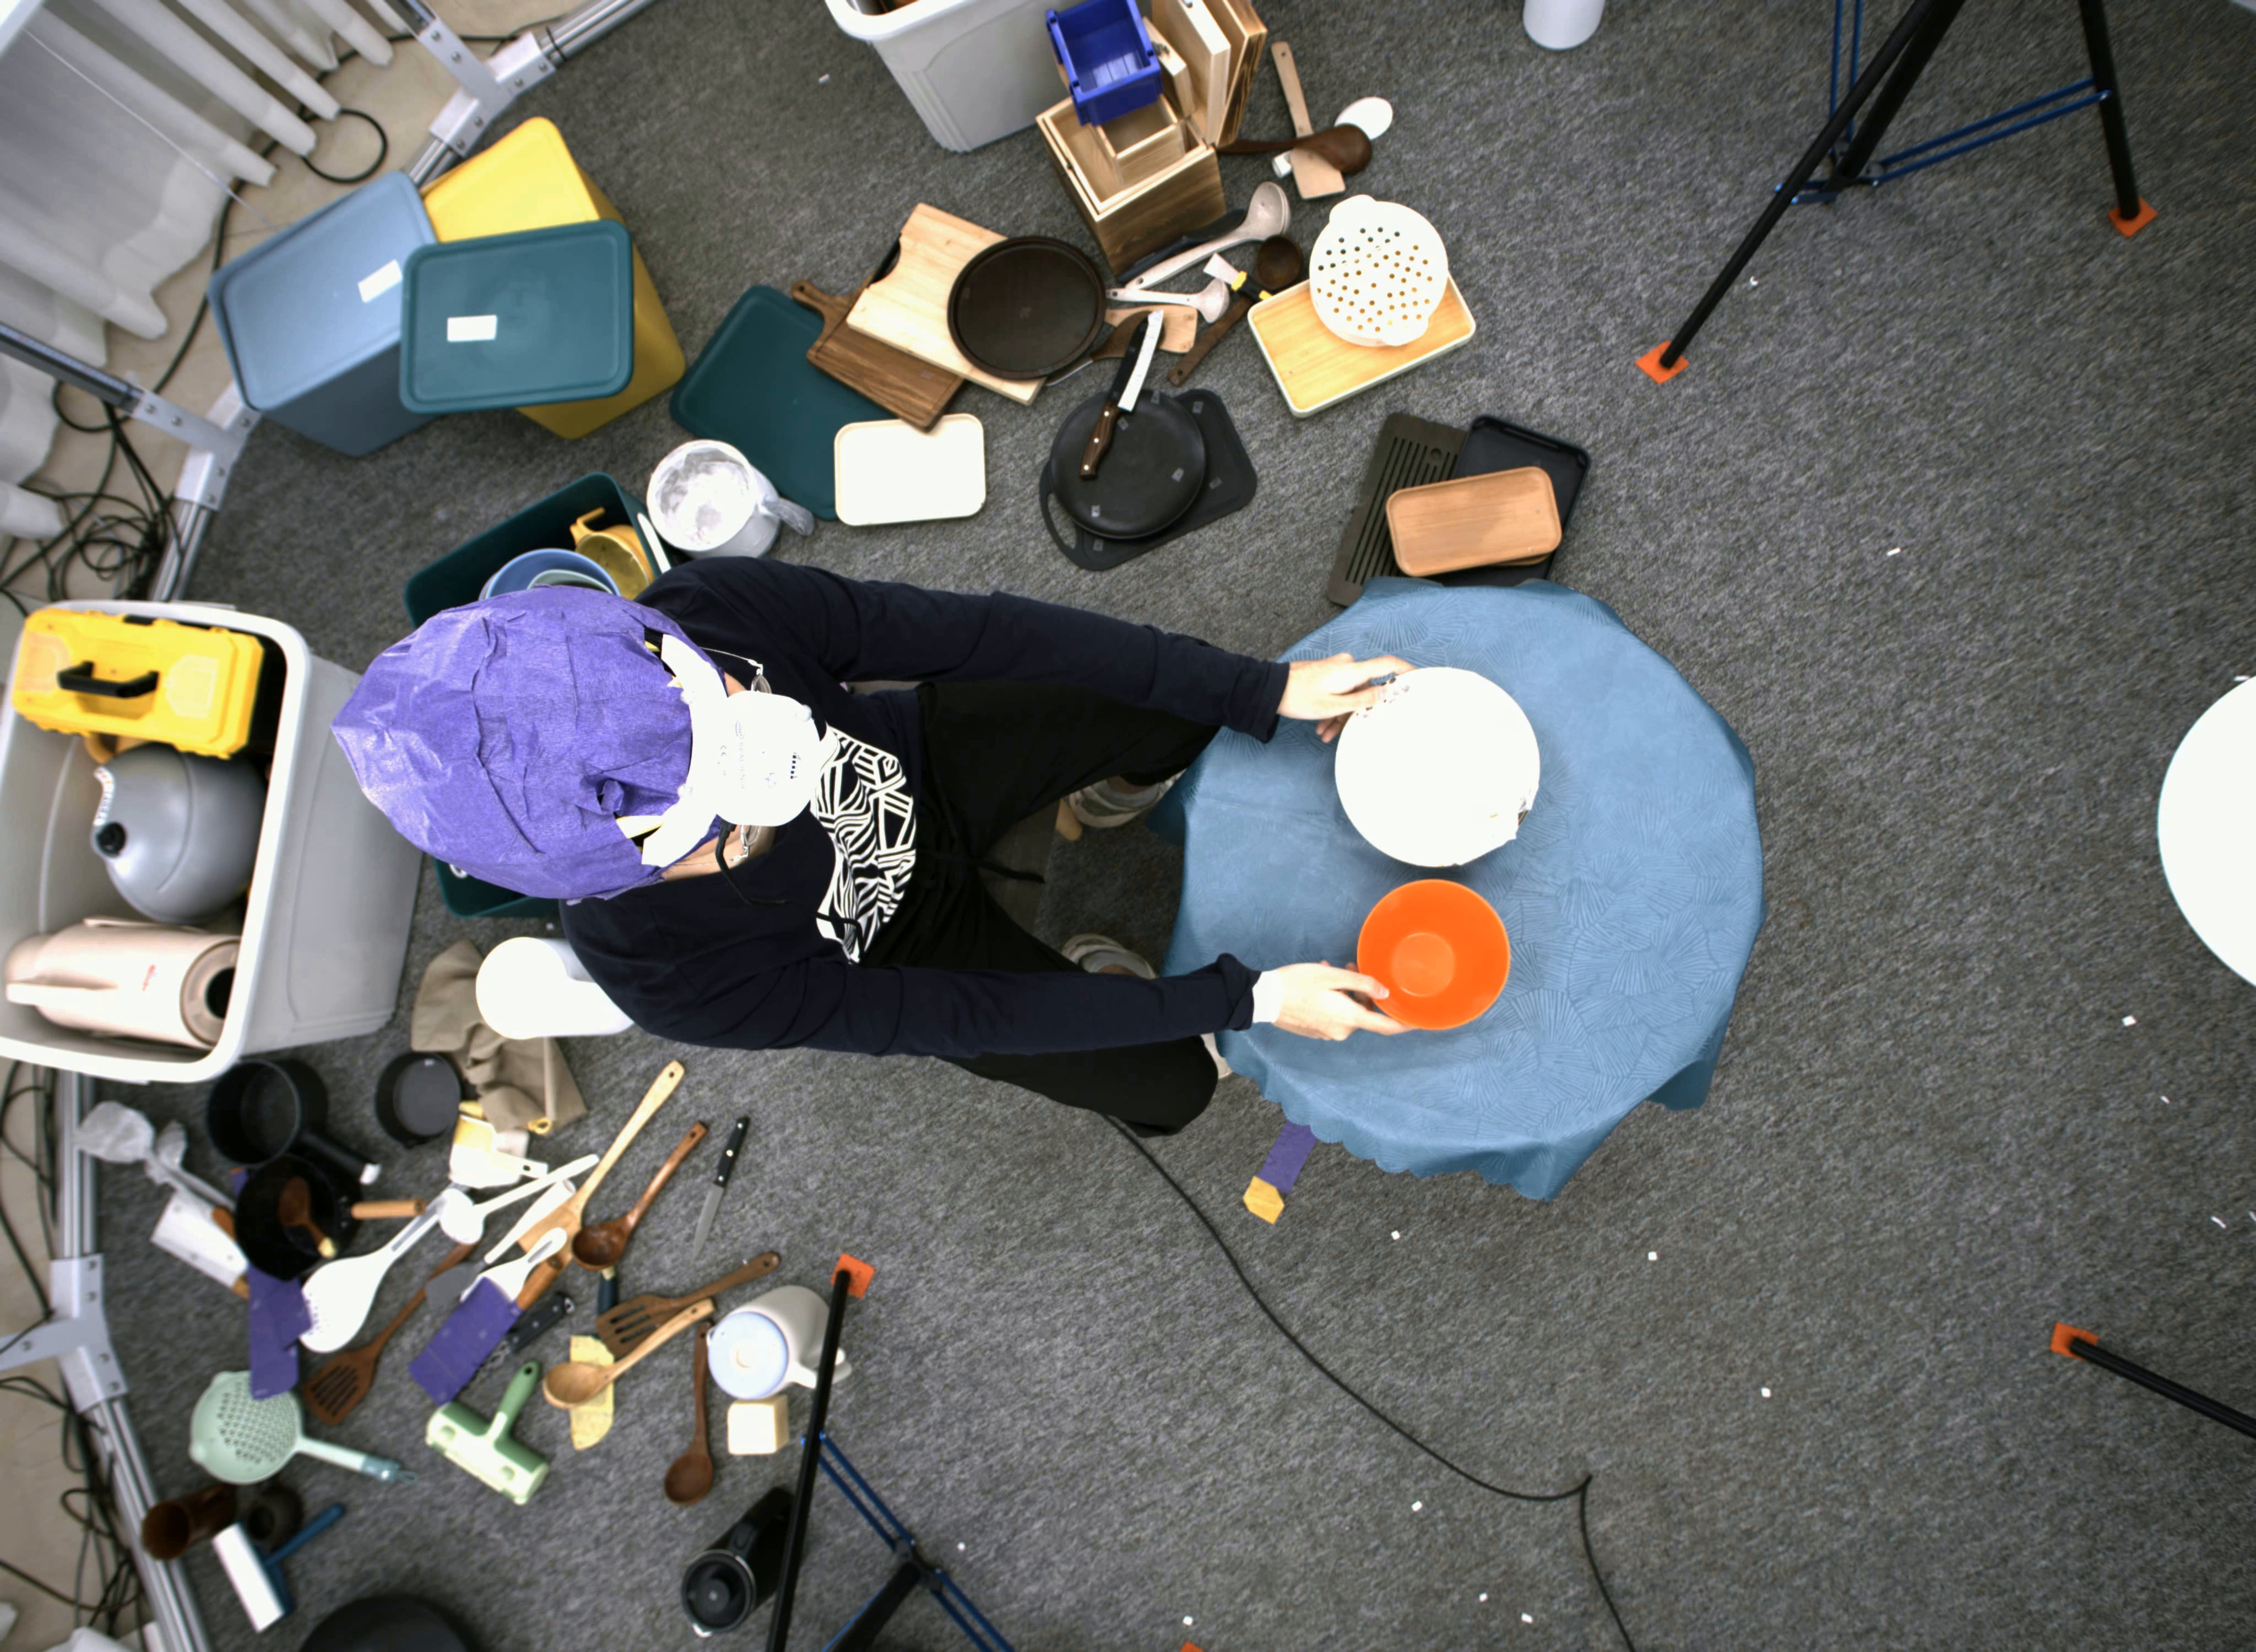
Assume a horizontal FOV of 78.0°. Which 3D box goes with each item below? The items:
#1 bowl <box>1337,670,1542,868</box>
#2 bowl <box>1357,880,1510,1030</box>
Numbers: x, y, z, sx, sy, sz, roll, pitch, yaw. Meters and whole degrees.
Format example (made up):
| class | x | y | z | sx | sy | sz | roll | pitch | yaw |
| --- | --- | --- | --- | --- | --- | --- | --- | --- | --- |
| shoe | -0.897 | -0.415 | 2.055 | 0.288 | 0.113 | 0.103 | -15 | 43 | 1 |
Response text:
| class | x | y | z | sx | sy | sz | roll | pitch | yaw |
| --- | --- | --- | --- | --- | --- | --- | --- | --- | --- |
| bowl | 0.319 | -0.056 | 1.419 | 0.205 | 0.078 | 0.203 | -1 | 85 | 11 |
| bowl | 0.308 | 0.130 | 1.400 | 0.148 | 0.104 | 0.147 | -1 | 86 | 12 |
